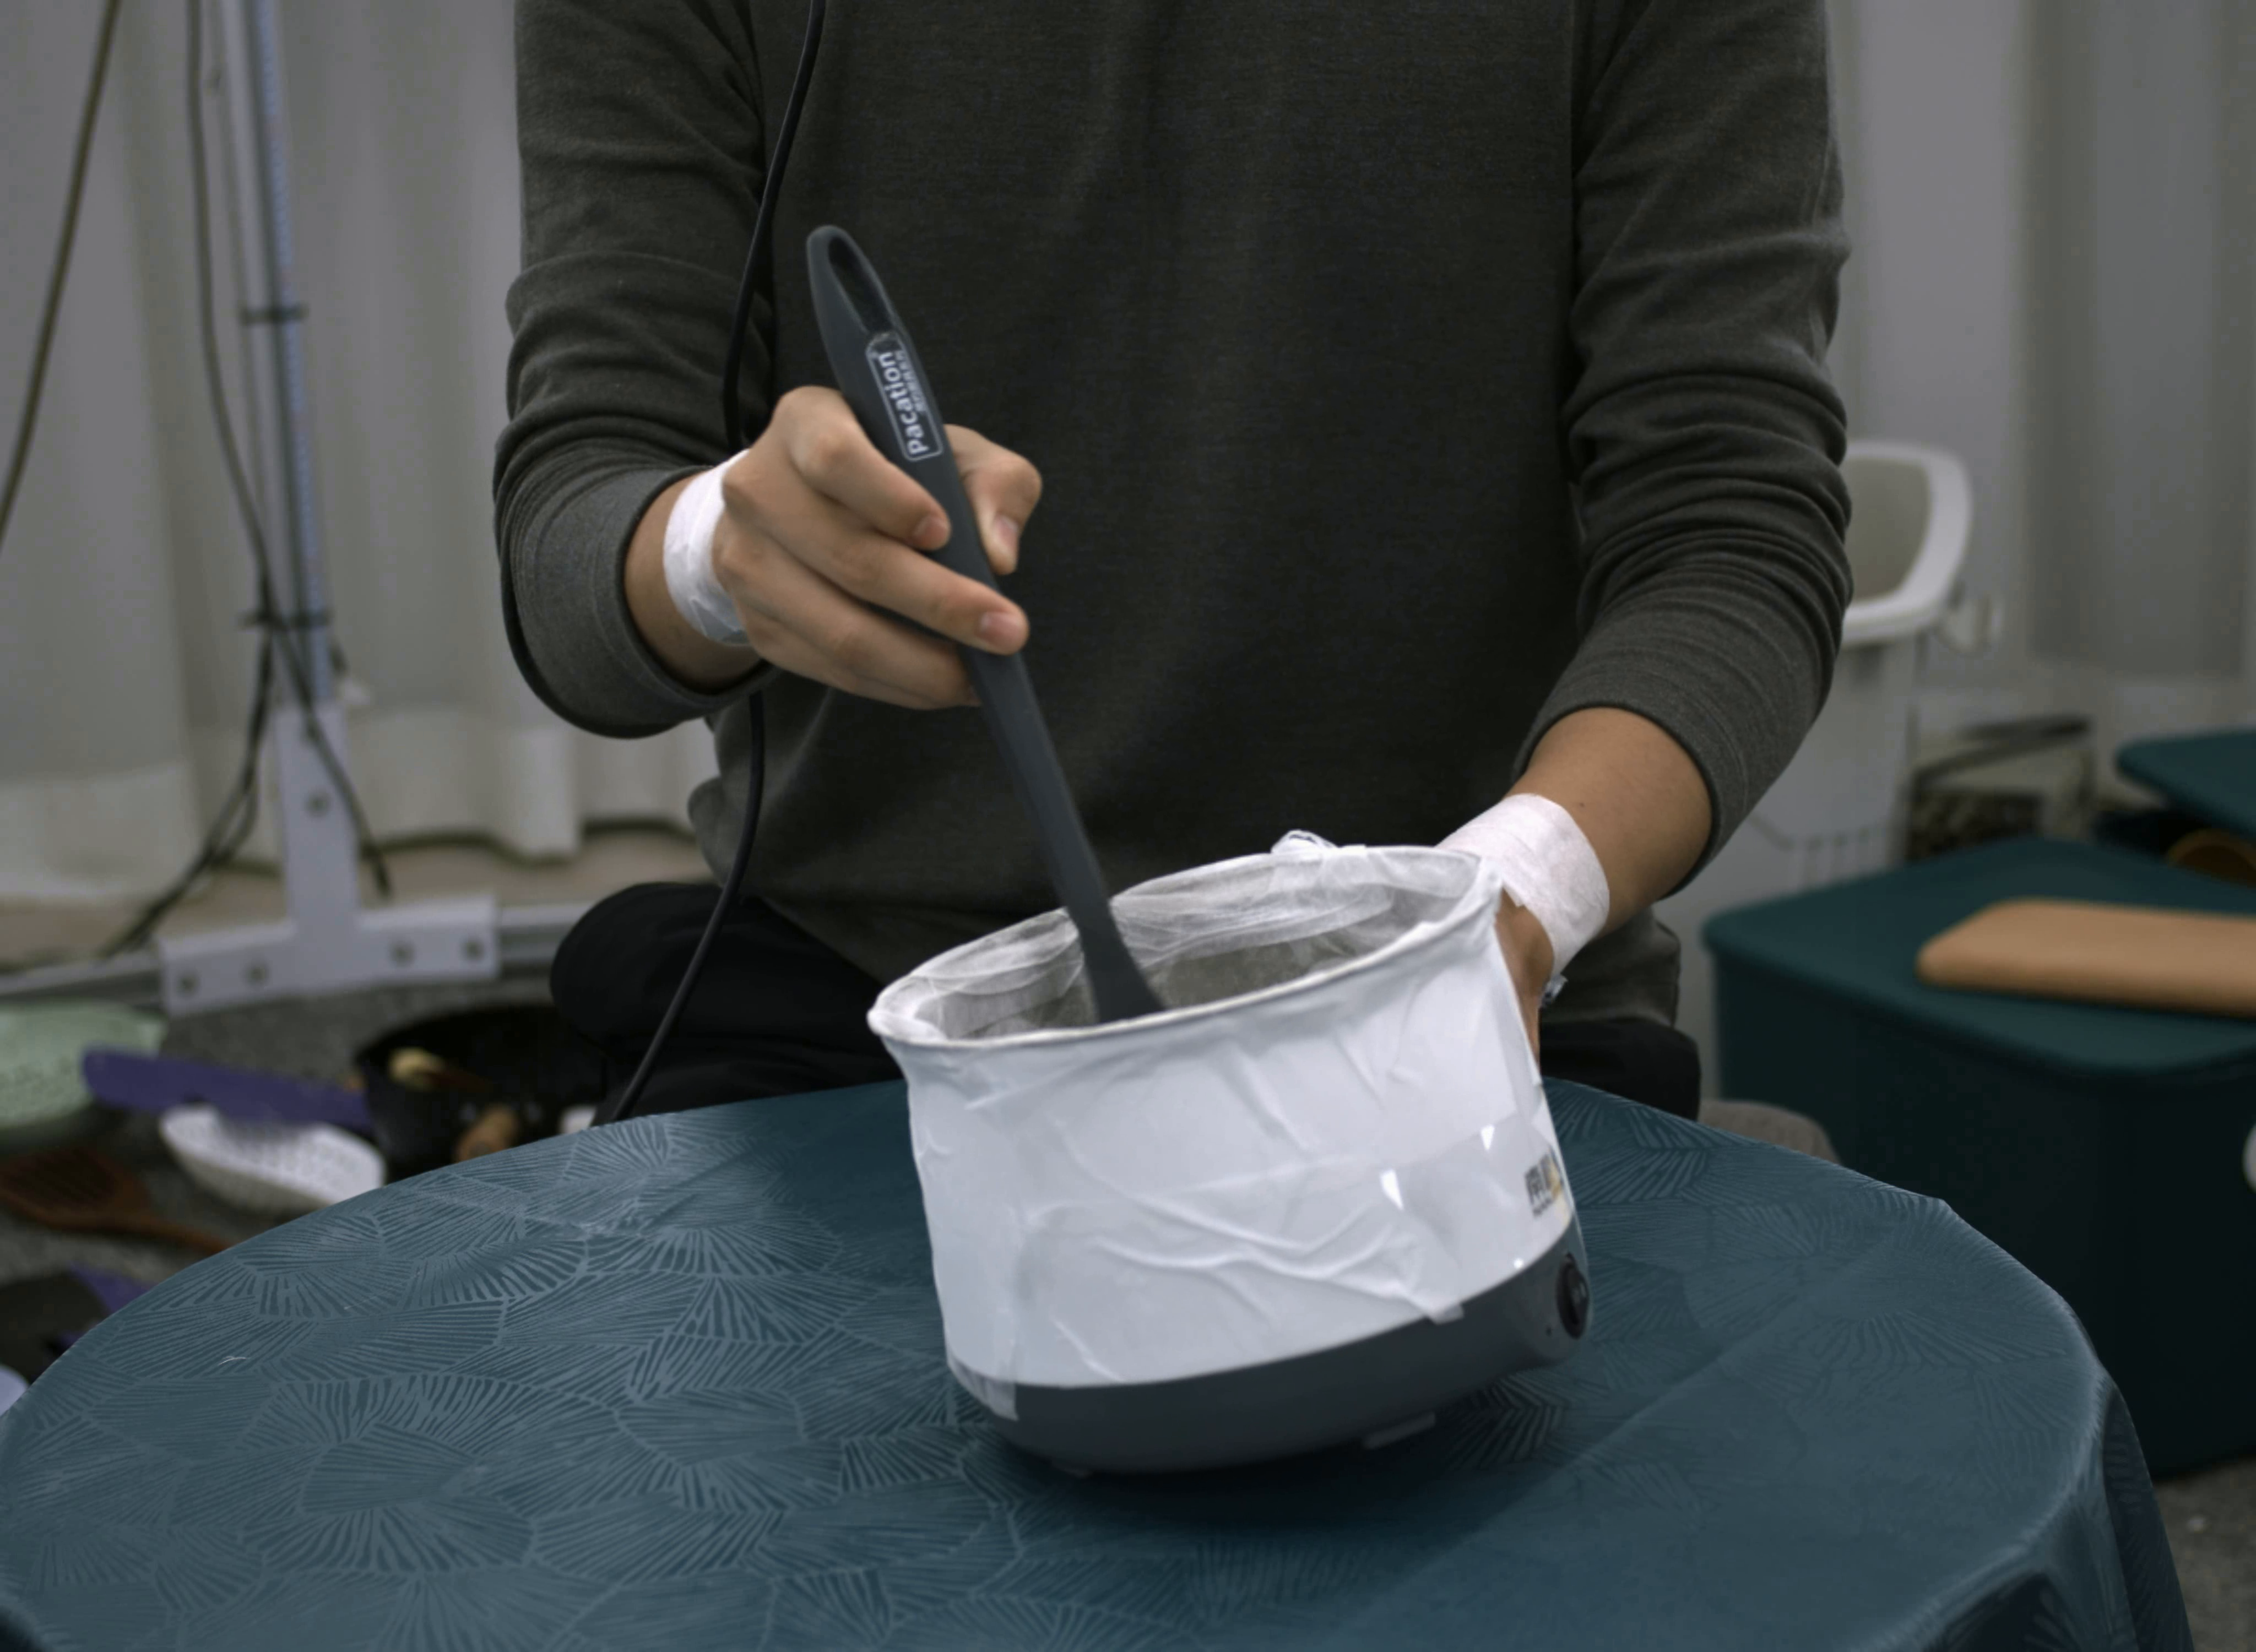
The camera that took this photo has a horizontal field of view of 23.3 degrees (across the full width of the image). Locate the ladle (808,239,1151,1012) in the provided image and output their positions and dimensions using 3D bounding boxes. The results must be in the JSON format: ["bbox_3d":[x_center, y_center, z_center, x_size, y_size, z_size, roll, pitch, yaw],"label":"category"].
[{"bbox_3d":[-0.023,-0.031,1.535,0.086,0.316,0.063,-15,-12,-31],"label":"ladle"}]

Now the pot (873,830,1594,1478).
[{"bbox_3d":[0.039,0.085,1.524,0.178,0.136,0.234,-9,11,21],"label":"pot"}]
